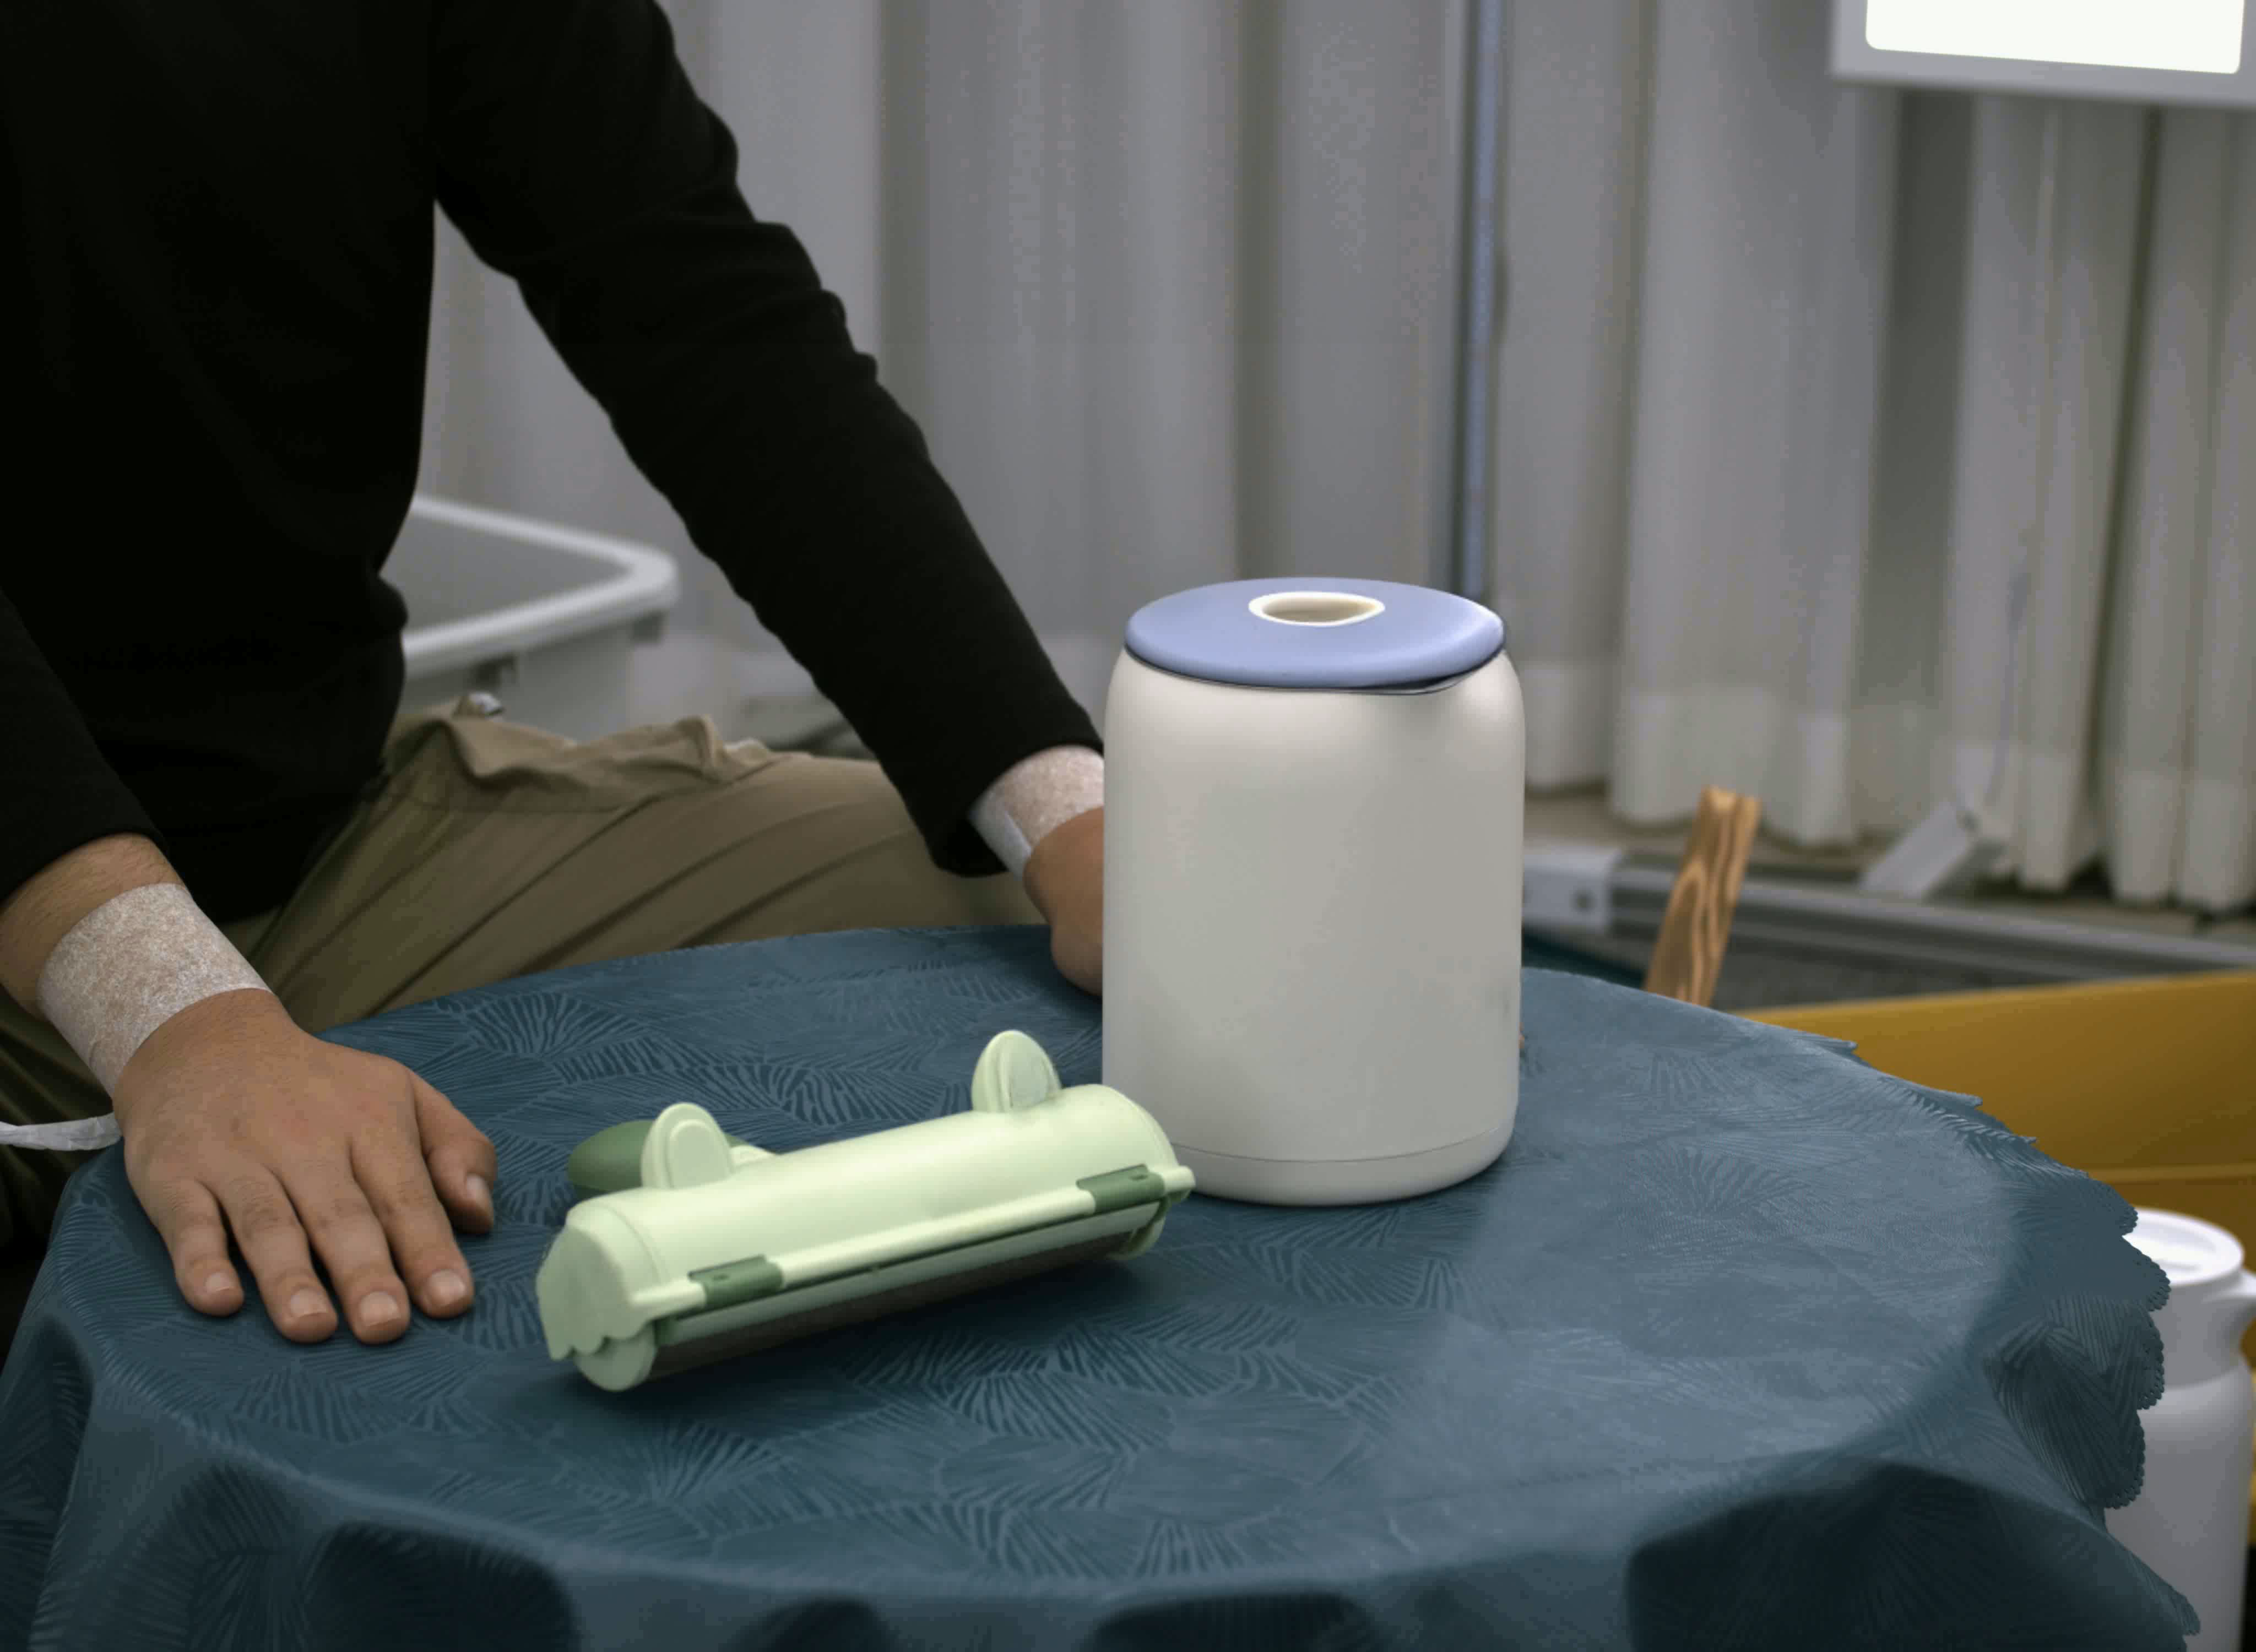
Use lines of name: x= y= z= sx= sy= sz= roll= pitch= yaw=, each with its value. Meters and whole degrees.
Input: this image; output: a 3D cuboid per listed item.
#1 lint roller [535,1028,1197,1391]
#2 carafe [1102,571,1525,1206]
lint roller: x=-0.108 y=0.096 z=1.534 sx=0.199 sy=0.083 sz=0.181 roll=-11 pitch=21 yaw=-38
carafe: x=0.045 y=0.013 z=1.659 sx=0.133 sy=0.184 sz=0.189 roll=-8 pitch=16 yaw=-29
